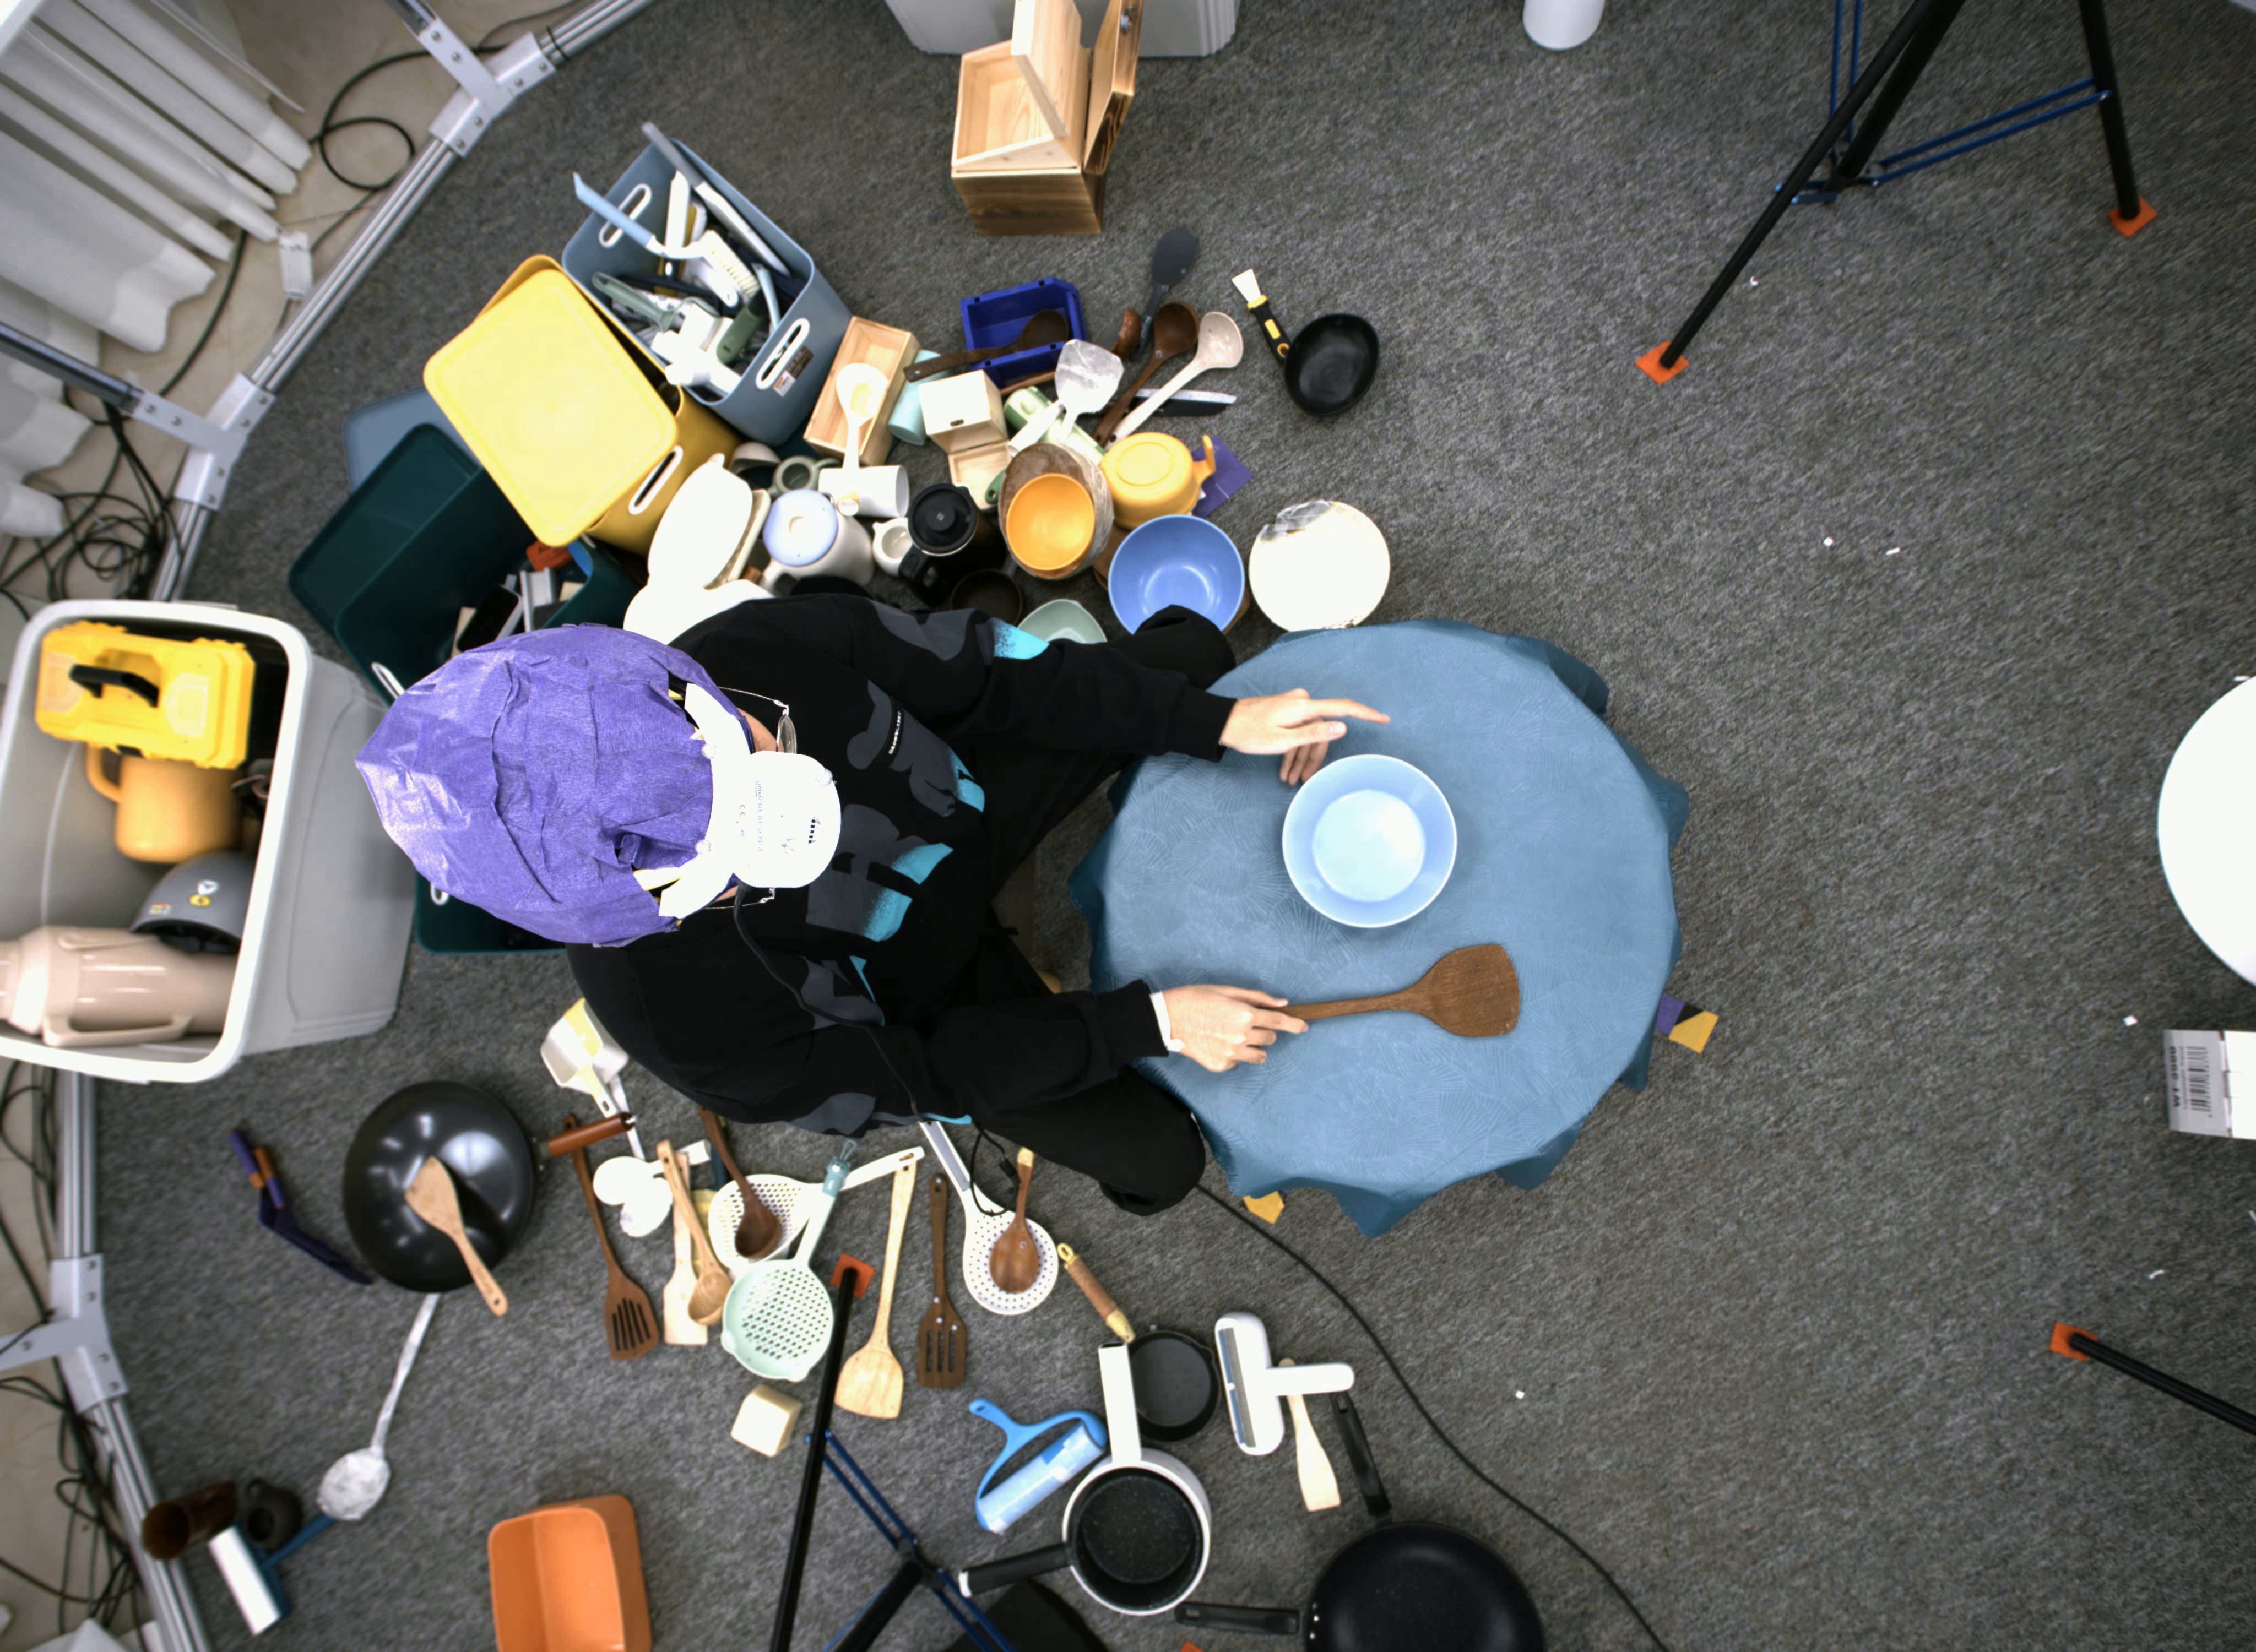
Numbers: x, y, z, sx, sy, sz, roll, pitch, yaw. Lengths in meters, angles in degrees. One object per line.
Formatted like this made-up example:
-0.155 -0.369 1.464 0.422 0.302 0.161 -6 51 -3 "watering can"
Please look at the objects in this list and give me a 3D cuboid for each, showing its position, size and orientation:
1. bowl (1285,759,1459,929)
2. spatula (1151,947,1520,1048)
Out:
0.254 0.021 1.436 0.177 0.070 0.175 -1 85 11 "bowl"
0.215 0.193 1.445 0.387 0.016 0.095 -8 81 4 "spatula"
